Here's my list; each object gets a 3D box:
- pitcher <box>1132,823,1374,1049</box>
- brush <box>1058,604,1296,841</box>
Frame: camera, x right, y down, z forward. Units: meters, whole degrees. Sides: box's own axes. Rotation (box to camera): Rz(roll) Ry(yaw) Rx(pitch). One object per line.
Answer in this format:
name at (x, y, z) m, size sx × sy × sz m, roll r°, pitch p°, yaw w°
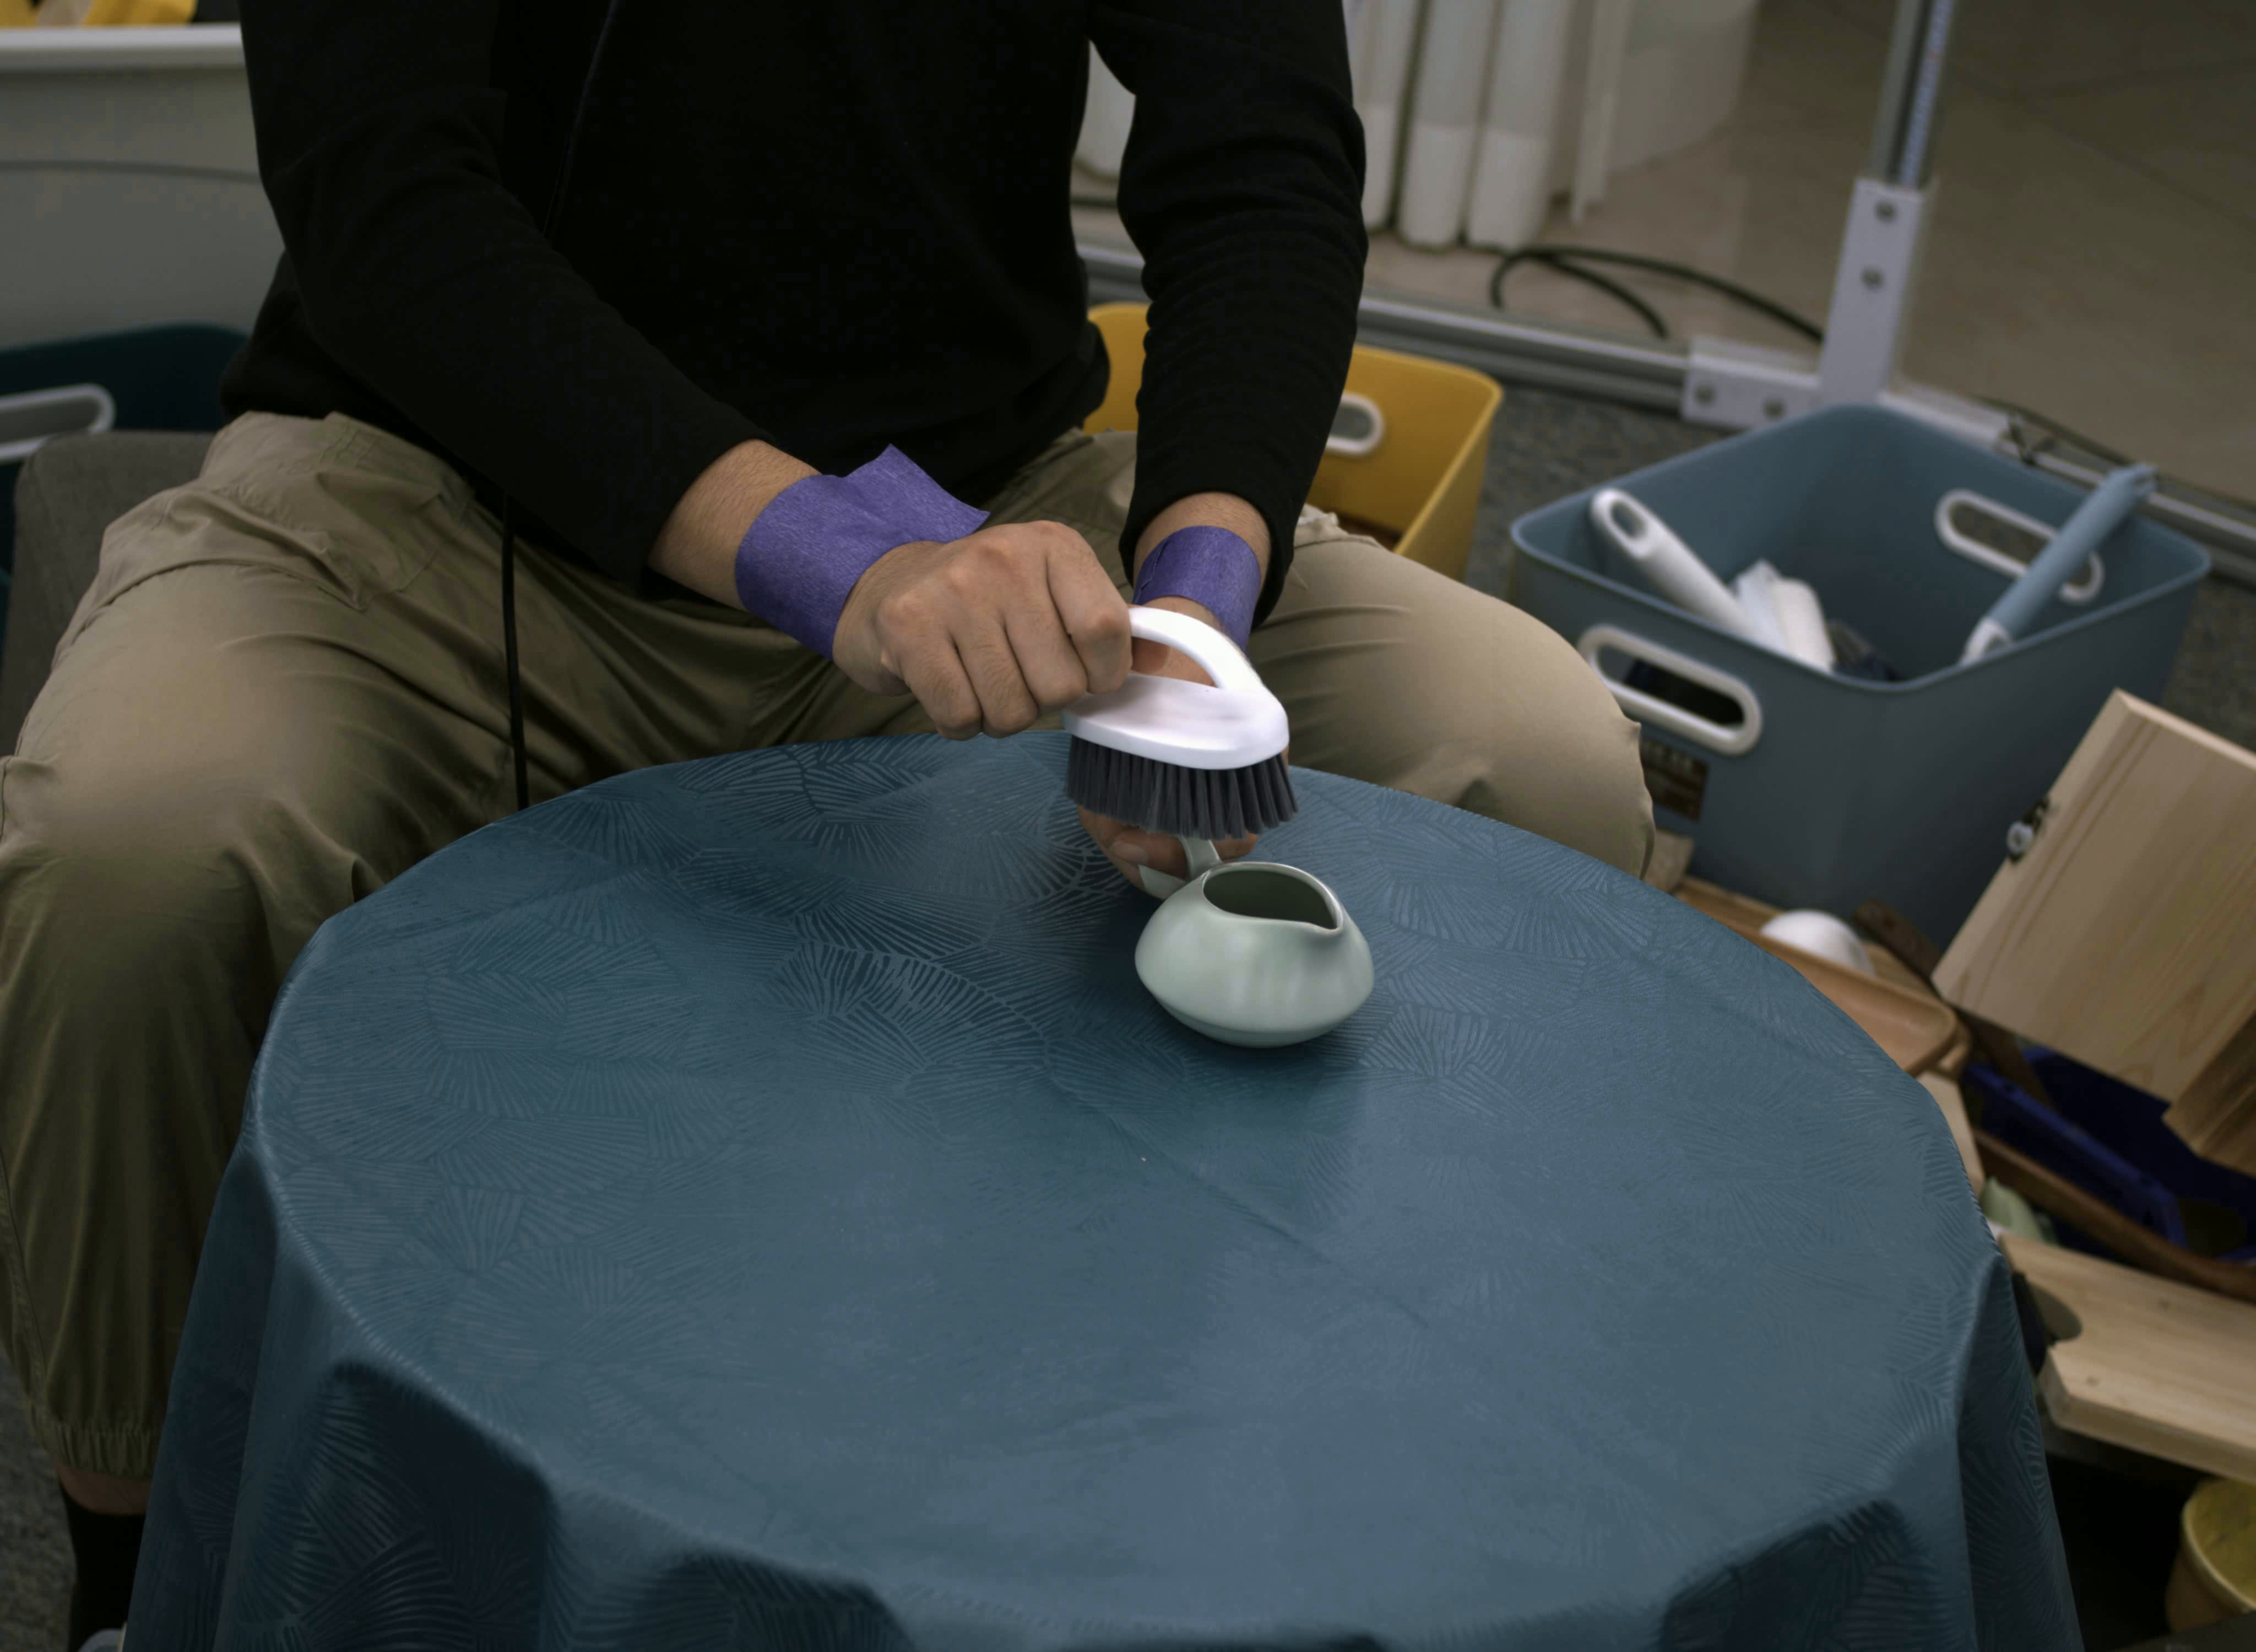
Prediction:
pitcher at (0.038, 0.040, 1.914) m, size 0.085 × 0.060 × 0.109 m, roll -16°, pitch 32°, yaw -39°
brush at (0.015, -0.042, 1.897) m, size 0.050 × 0.072 × 0.100 m, roll -23°, pitch 27°, yaw -35°
